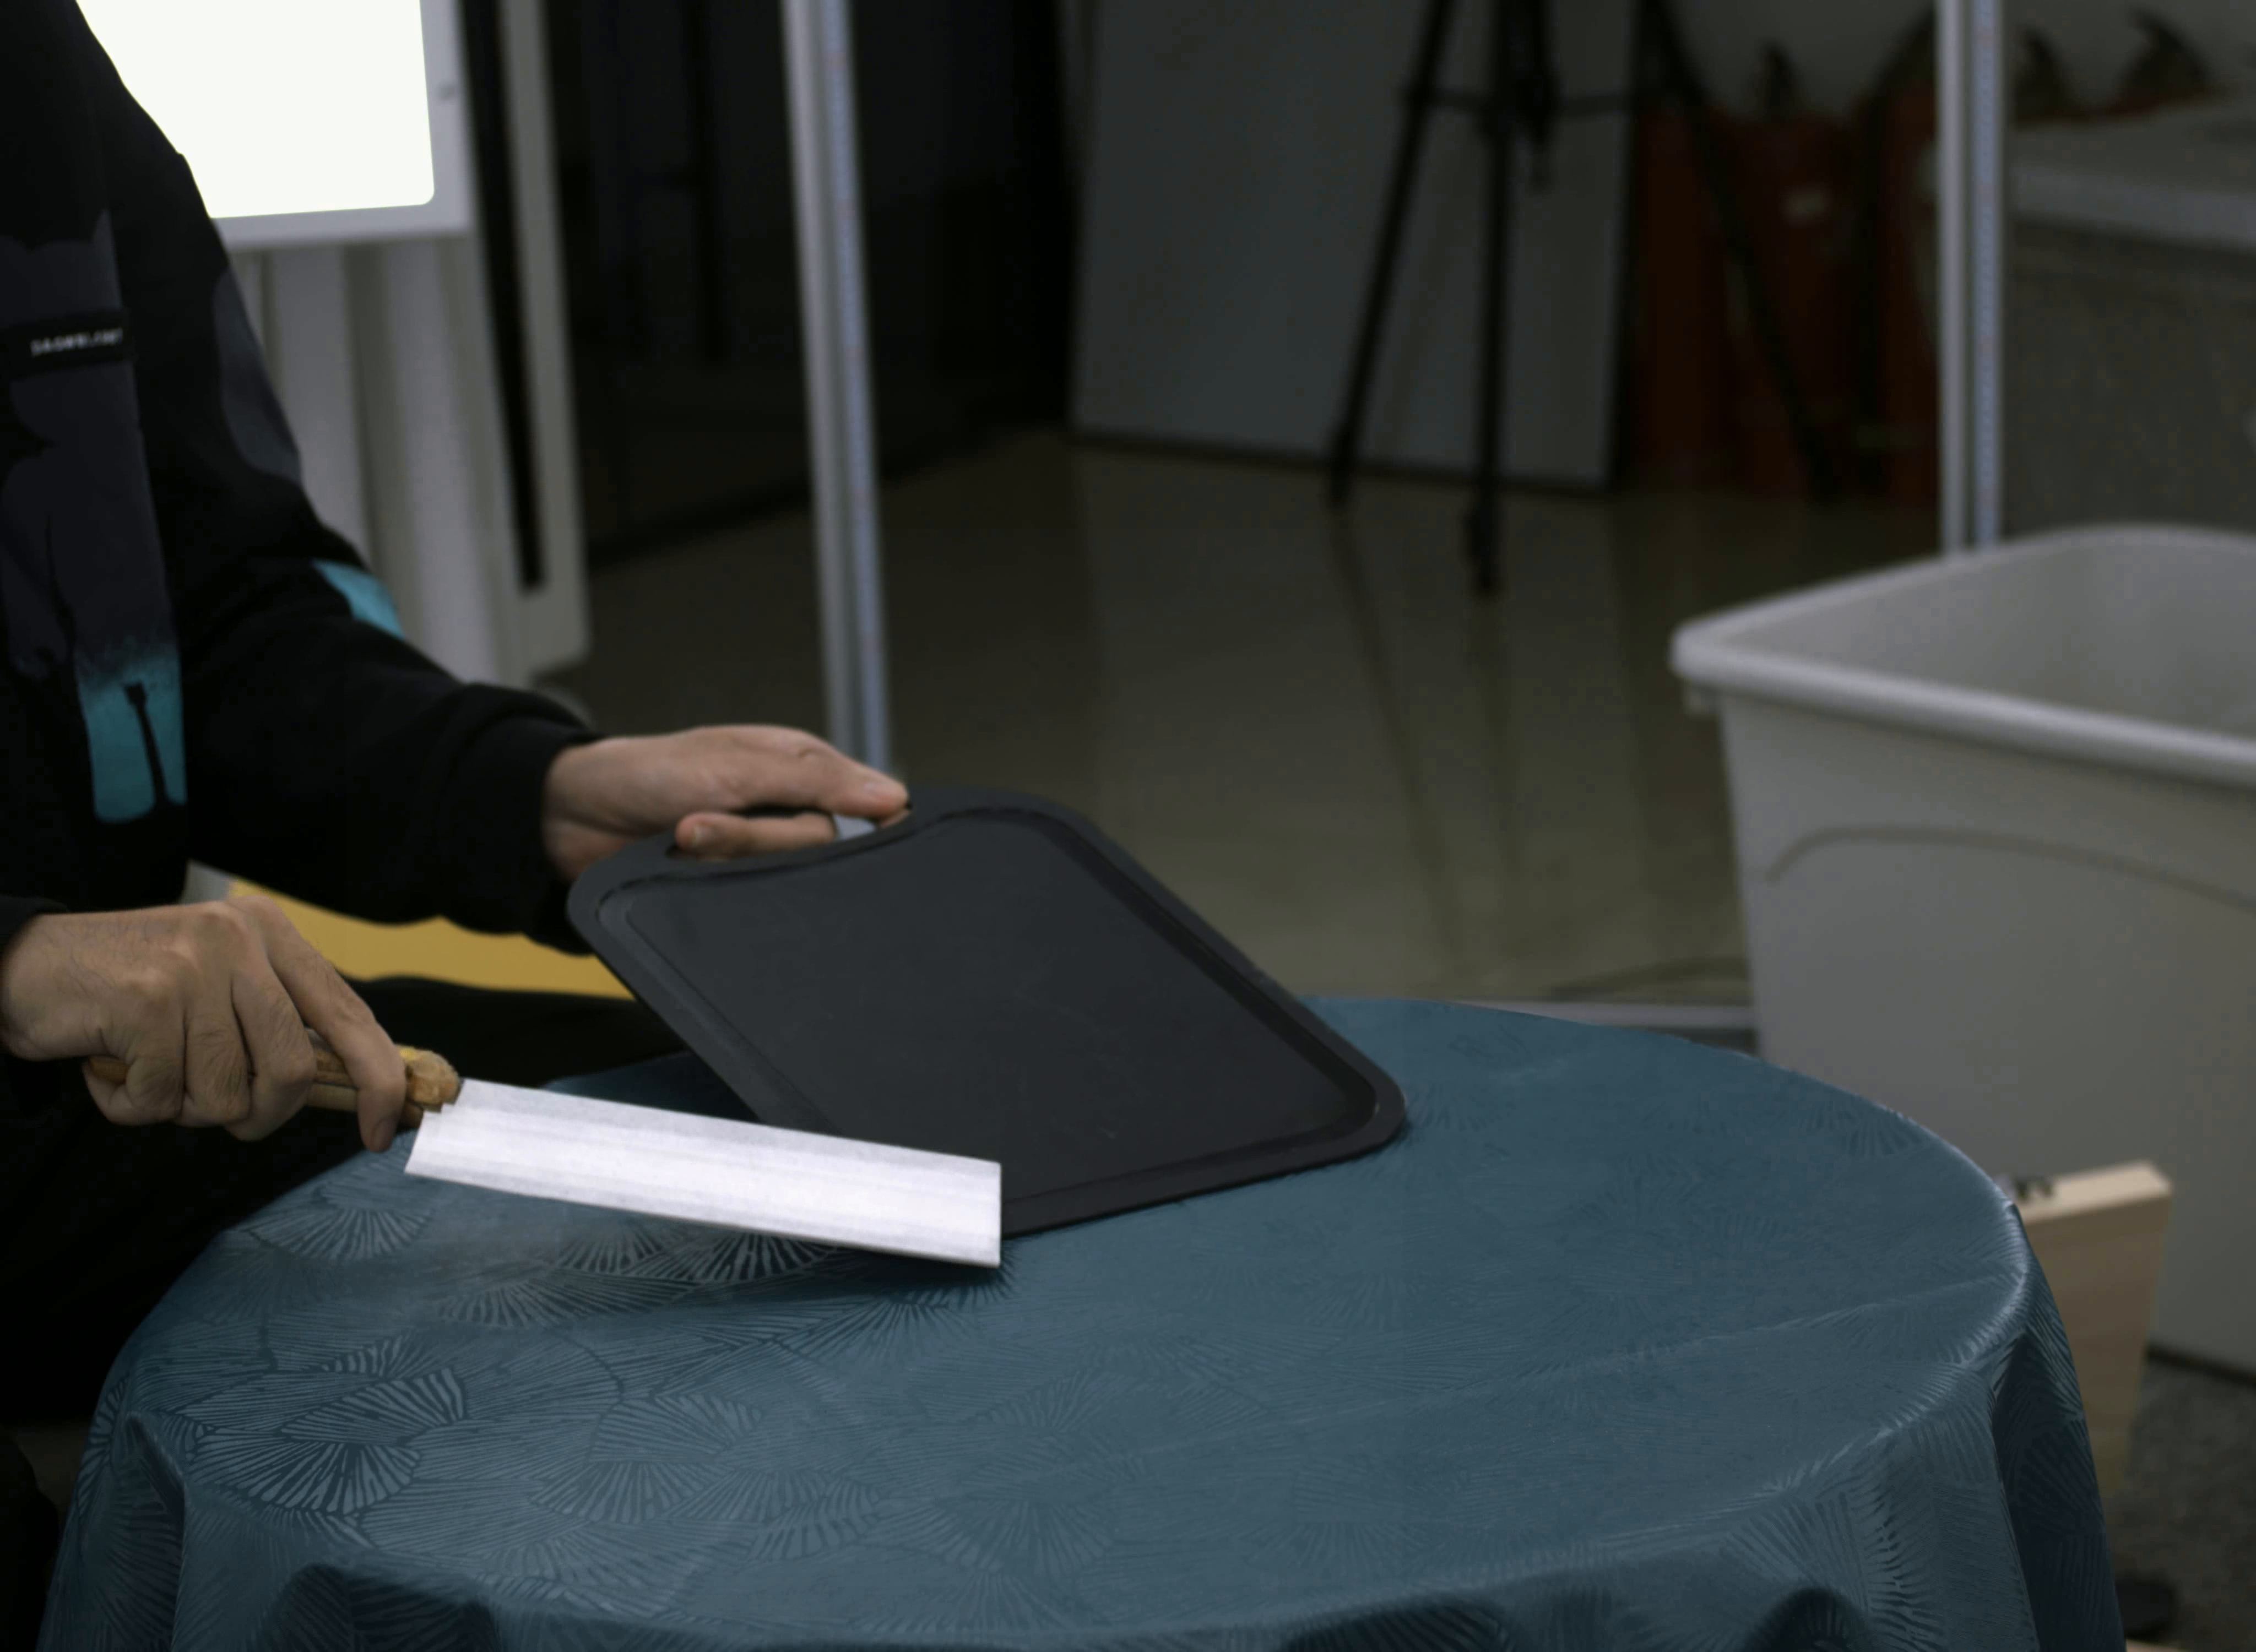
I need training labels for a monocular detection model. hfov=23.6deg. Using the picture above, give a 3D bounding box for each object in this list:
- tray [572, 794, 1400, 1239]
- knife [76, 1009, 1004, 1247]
[{"bbox_3d":[-0.059,0.058,1.887,0.206,0.010,0.329,-11,28,-25],"label":"tray"},{"bbox_3d":[-0.188,0.100,1.726,0.301,0.021,0.093,9,16,-2],"label":"knife"}]
